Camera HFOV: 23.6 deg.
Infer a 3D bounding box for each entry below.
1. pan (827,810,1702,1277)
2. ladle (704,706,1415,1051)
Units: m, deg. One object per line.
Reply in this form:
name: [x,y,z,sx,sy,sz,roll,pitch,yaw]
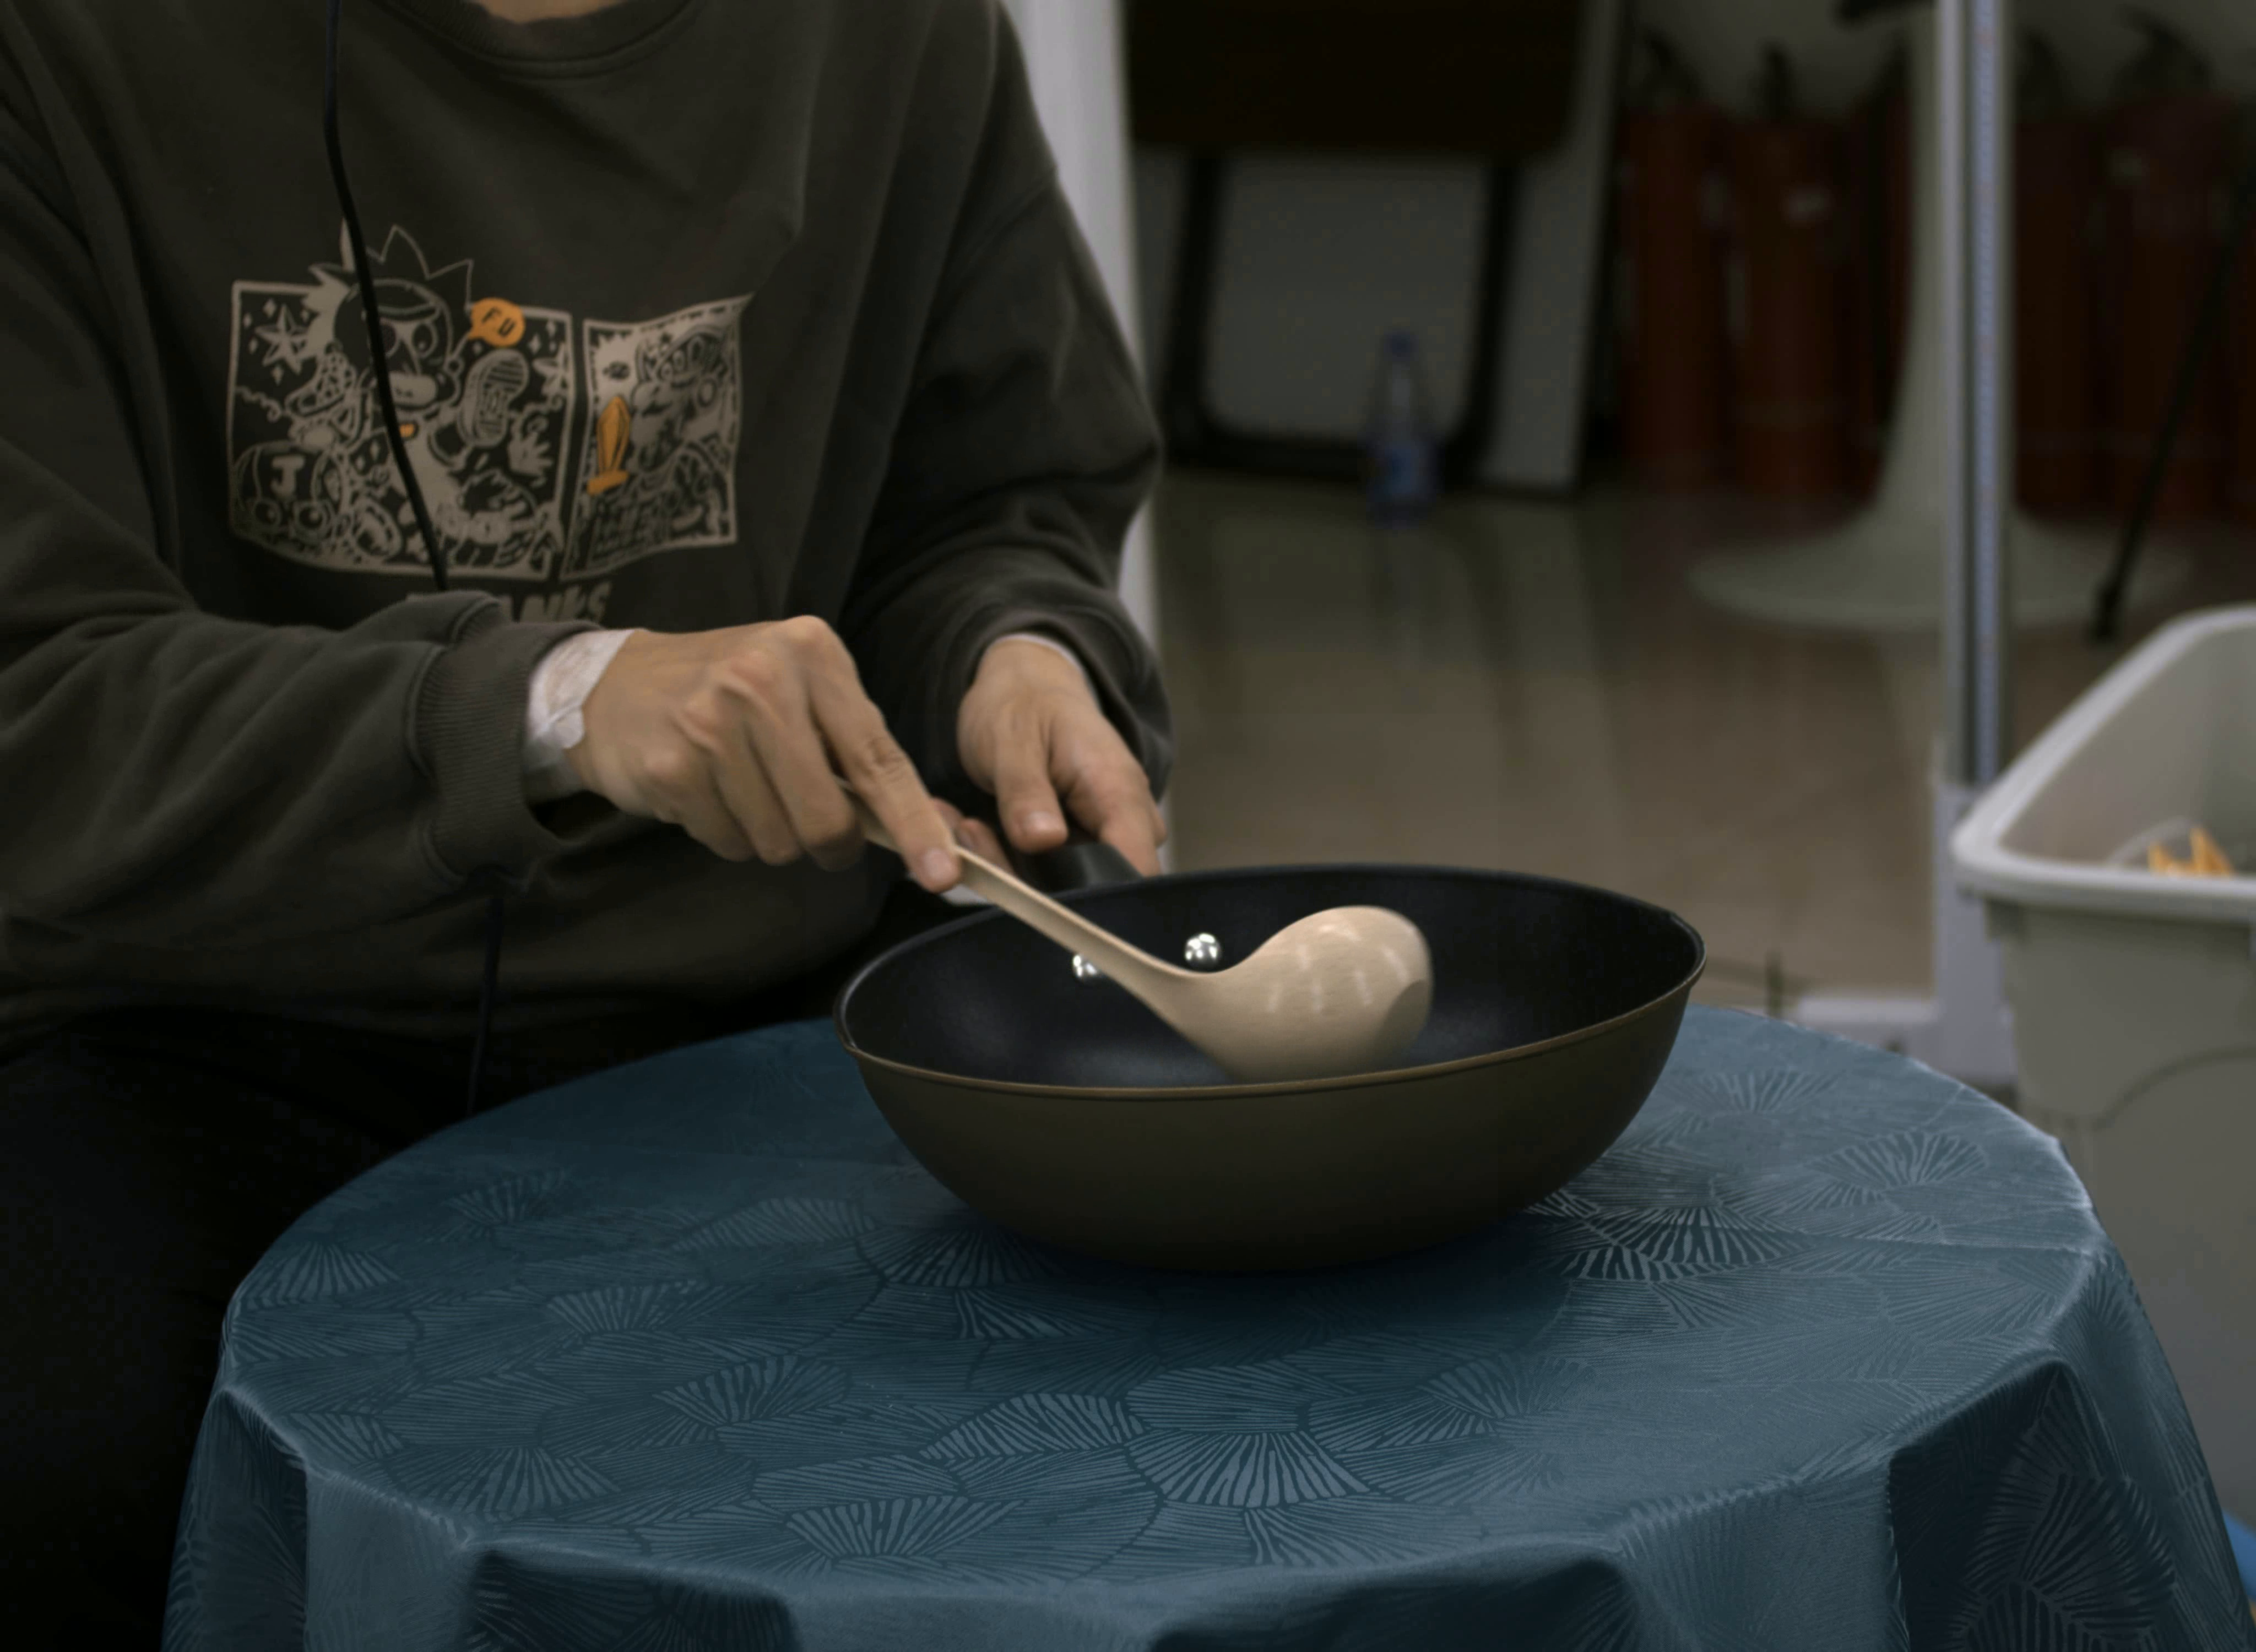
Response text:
pan: [0.018,0.069,1.817,0.282,0.088,0.467,-8,12,-17]
ladle: [-0.019,0.010,1.722,0.256,0.072,0.072,32,46,27]
